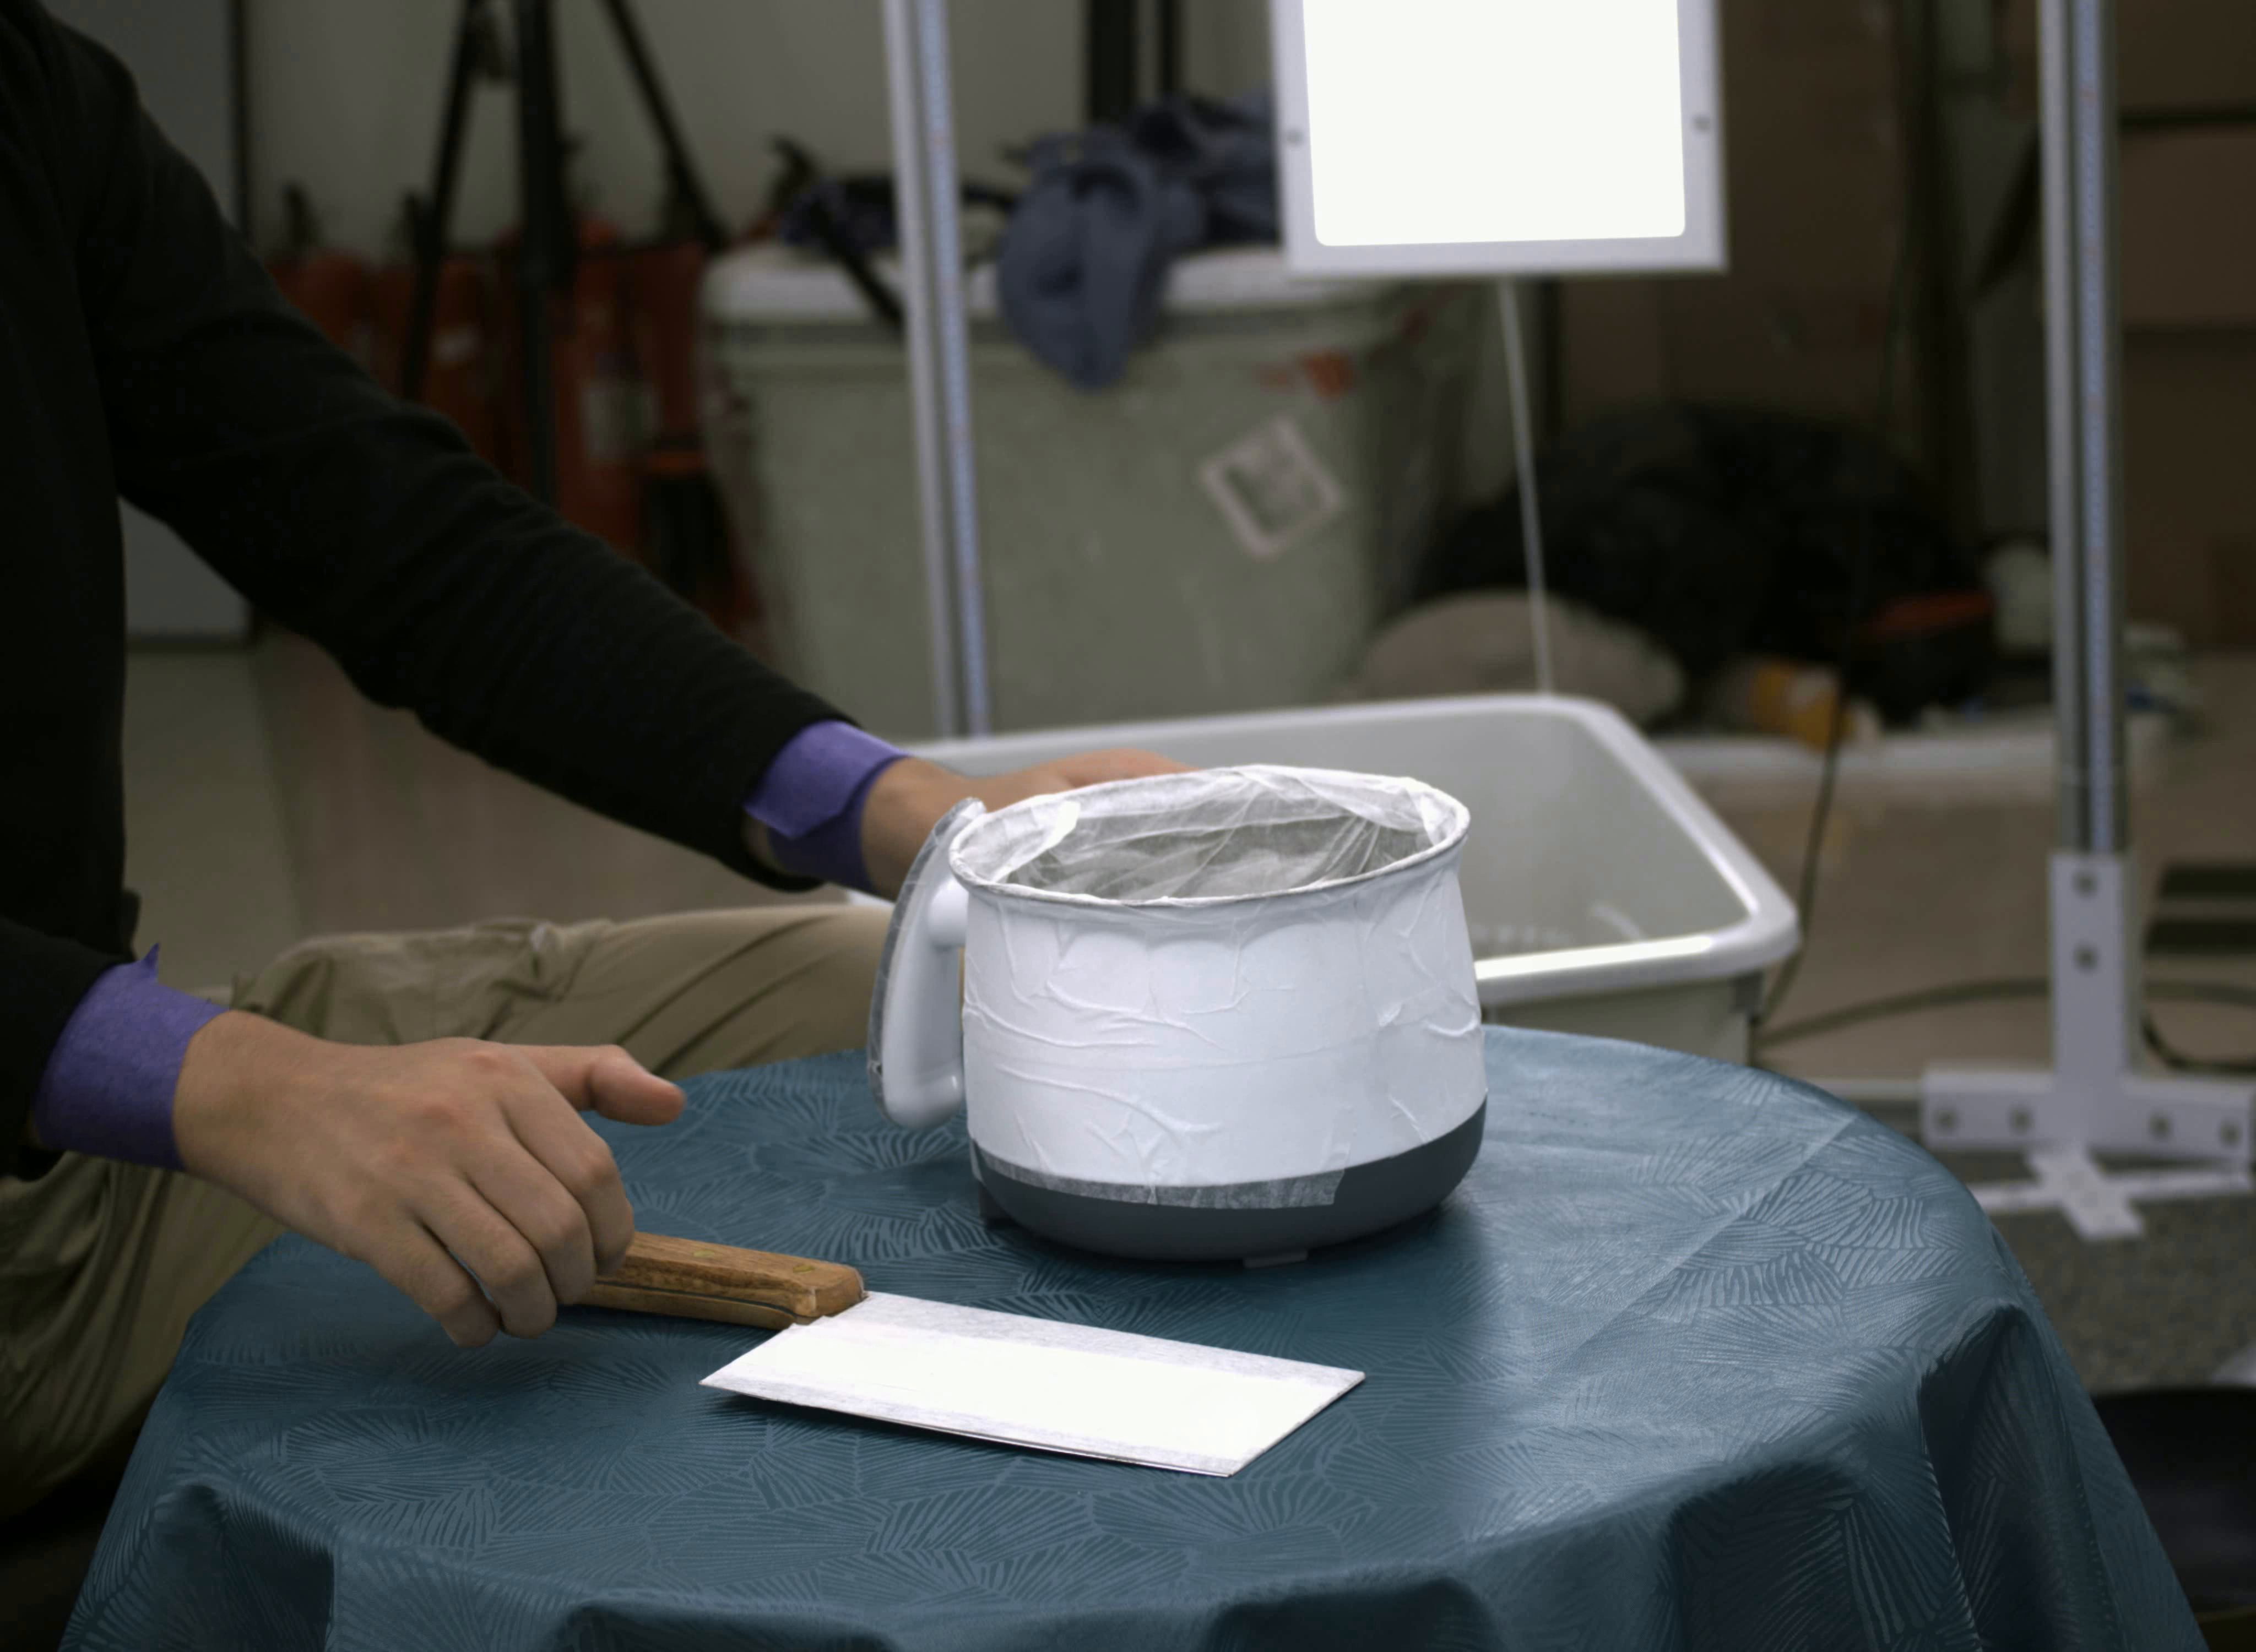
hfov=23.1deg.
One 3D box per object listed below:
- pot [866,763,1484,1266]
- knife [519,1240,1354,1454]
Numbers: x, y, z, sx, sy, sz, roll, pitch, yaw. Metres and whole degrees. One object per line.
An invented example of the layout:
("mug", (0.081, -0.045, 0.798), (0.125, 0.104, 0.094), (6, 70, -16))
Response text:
("pot", (0.008, 0.060, 1.873), (0.238, 0.137, 0.174), (6, 17, 34))
("knife", (-0.078, 0.167, 1.738), (0.311, 0.021, 0.091), (5, 16, 32))
